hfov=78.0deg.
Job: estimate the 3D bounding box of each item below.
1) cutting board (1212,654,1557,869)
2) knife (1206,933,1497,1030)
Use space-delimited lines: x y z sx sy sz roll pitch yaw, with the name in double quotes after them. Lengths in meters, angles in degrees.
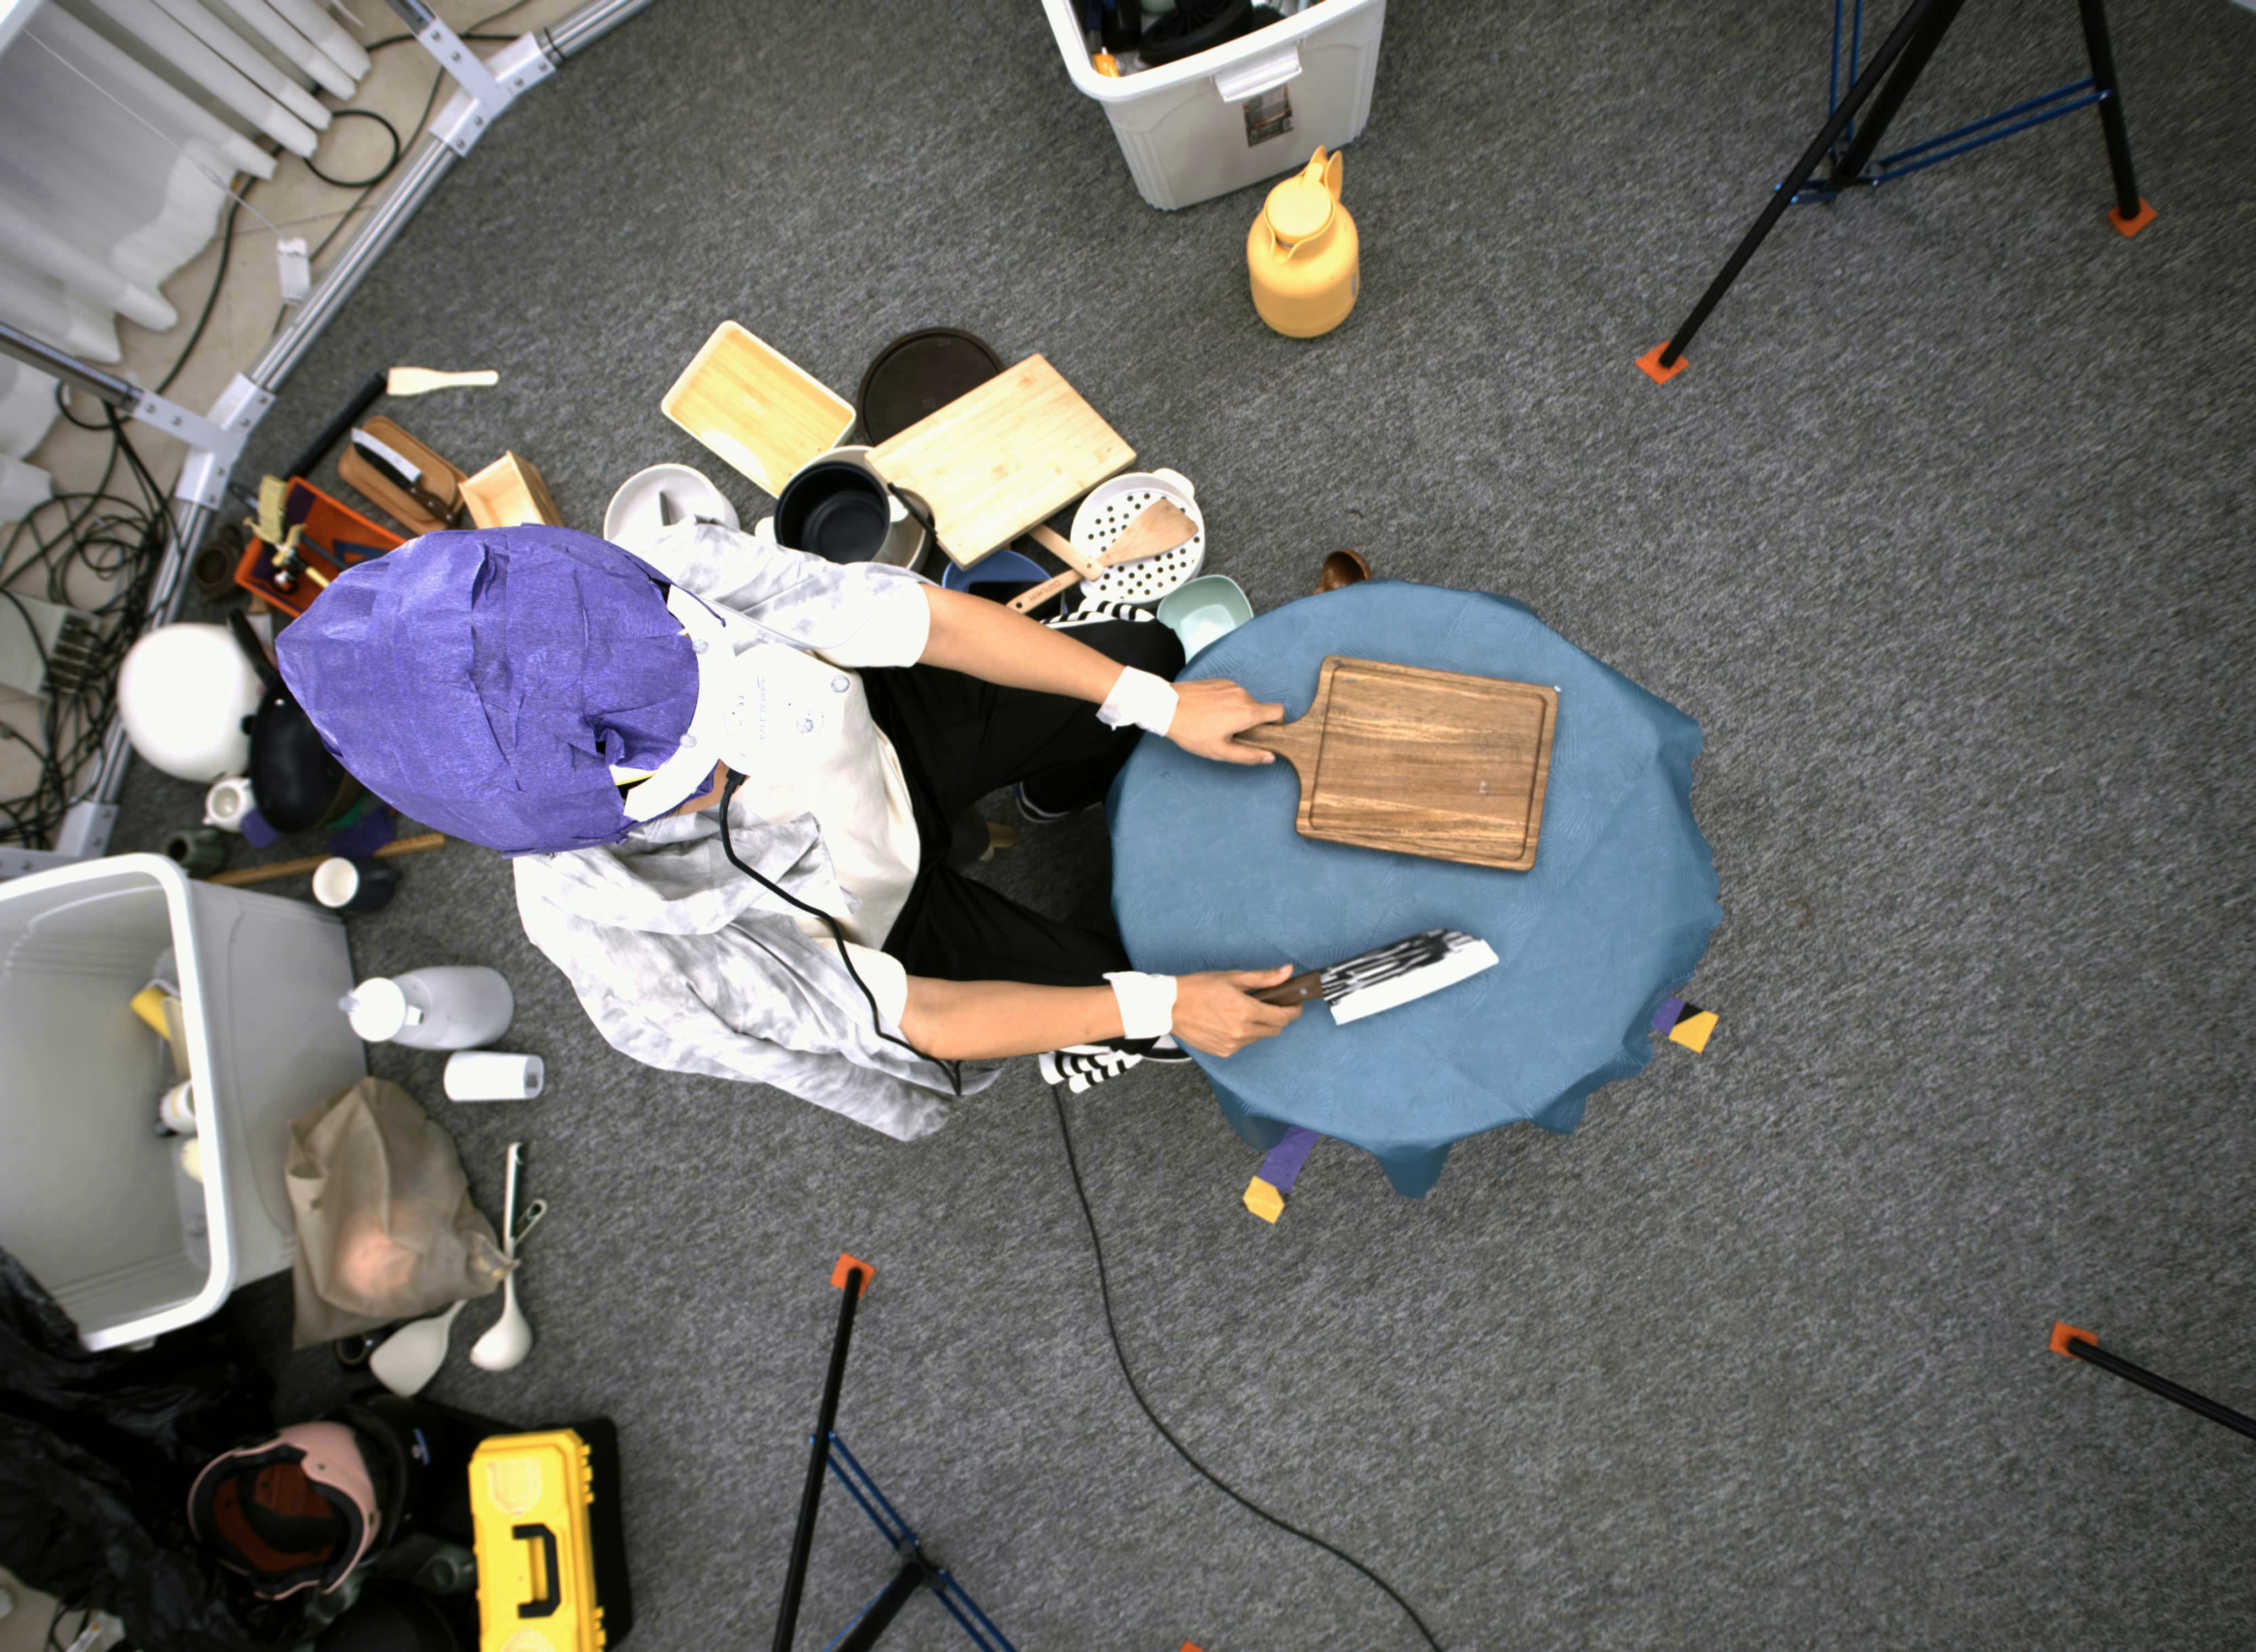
0.263 -0.077 1.446 0.353 0.023 0.200 9 88 8 "cutting board"
0.230 0.167 1.423 0.301 0.023 0.069 -19 110 8 "knife"
